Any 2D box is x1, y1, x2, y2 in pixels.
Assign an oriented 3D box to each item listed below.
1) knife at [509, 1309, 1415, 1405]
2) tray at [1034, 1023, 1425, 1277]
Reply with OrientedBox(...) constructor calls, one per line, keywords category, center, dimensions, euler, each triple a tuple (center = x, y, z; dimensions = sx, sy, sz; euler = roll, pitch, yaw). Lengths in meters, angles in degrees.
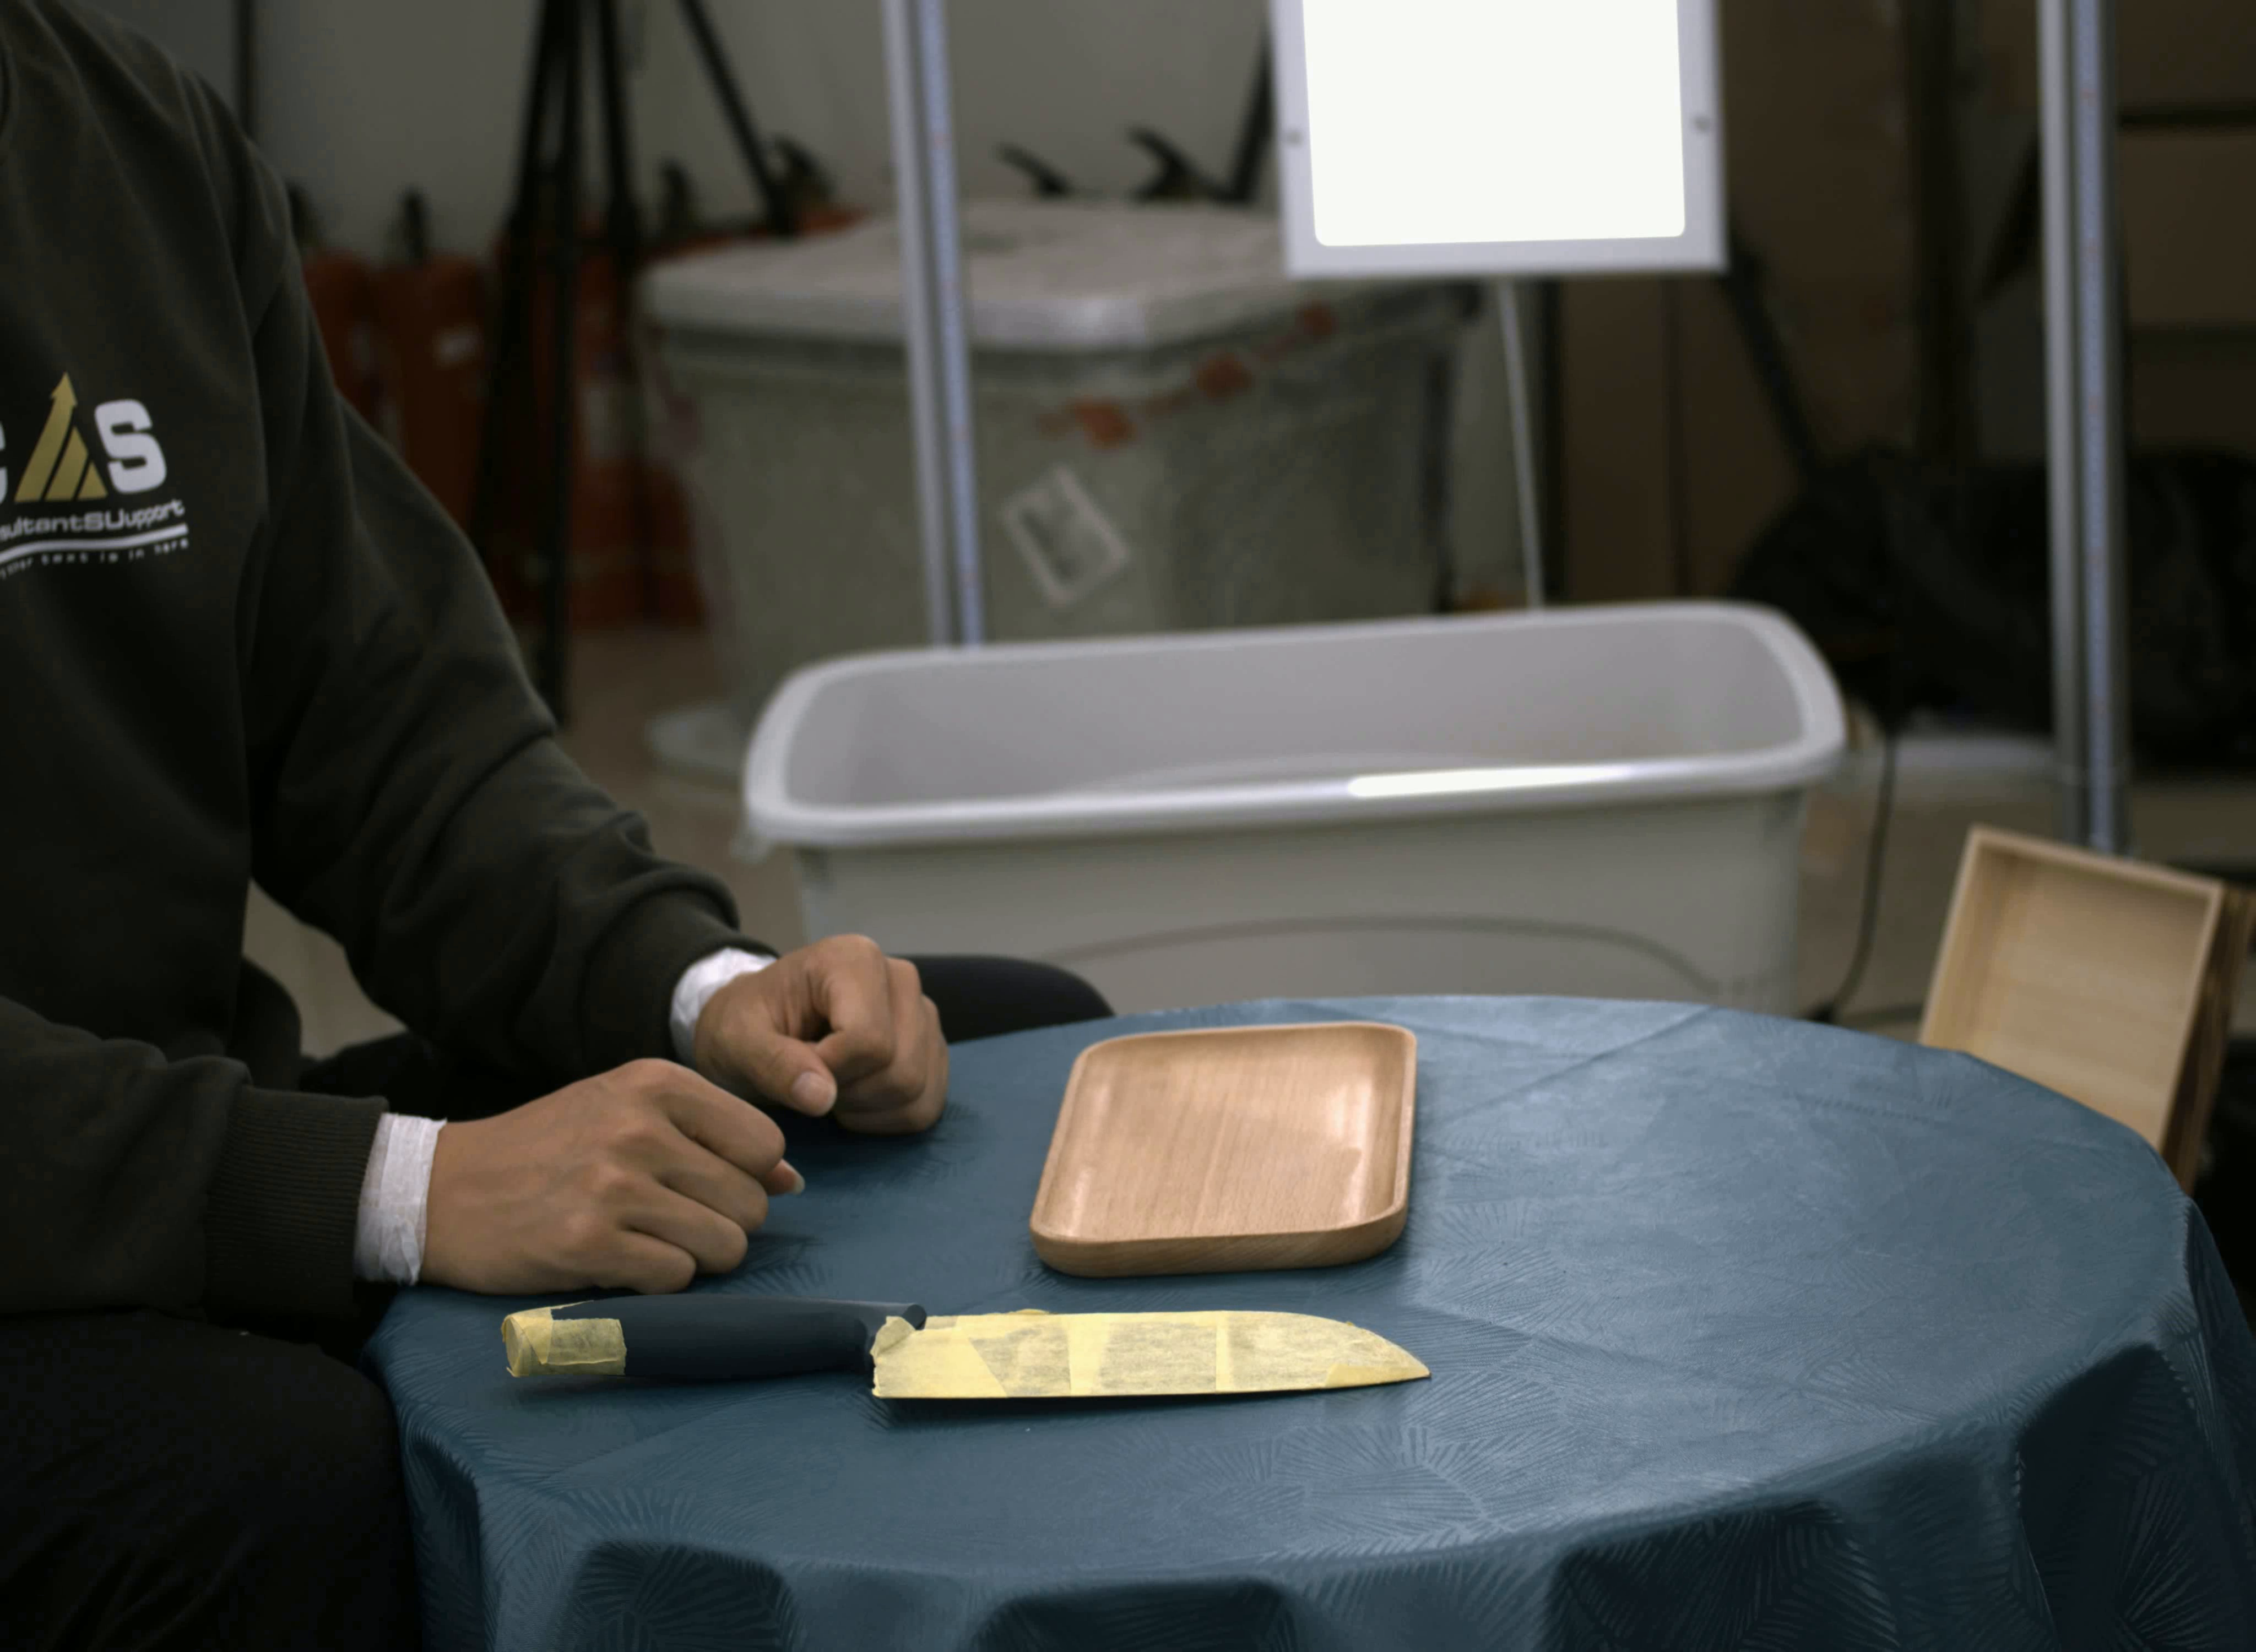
OrientedBox(category="knife", center=(-0.053, 0.167, 1.725), dimensions=(0.290, 0.027, 0.080), euler=(-3, 12, 7))
OrientedBox(category="tray", center=(0.039, 0.111, 1.919), dimensions=(0.131, 0.023, 0.249), euler=(-6, 14, 7))
